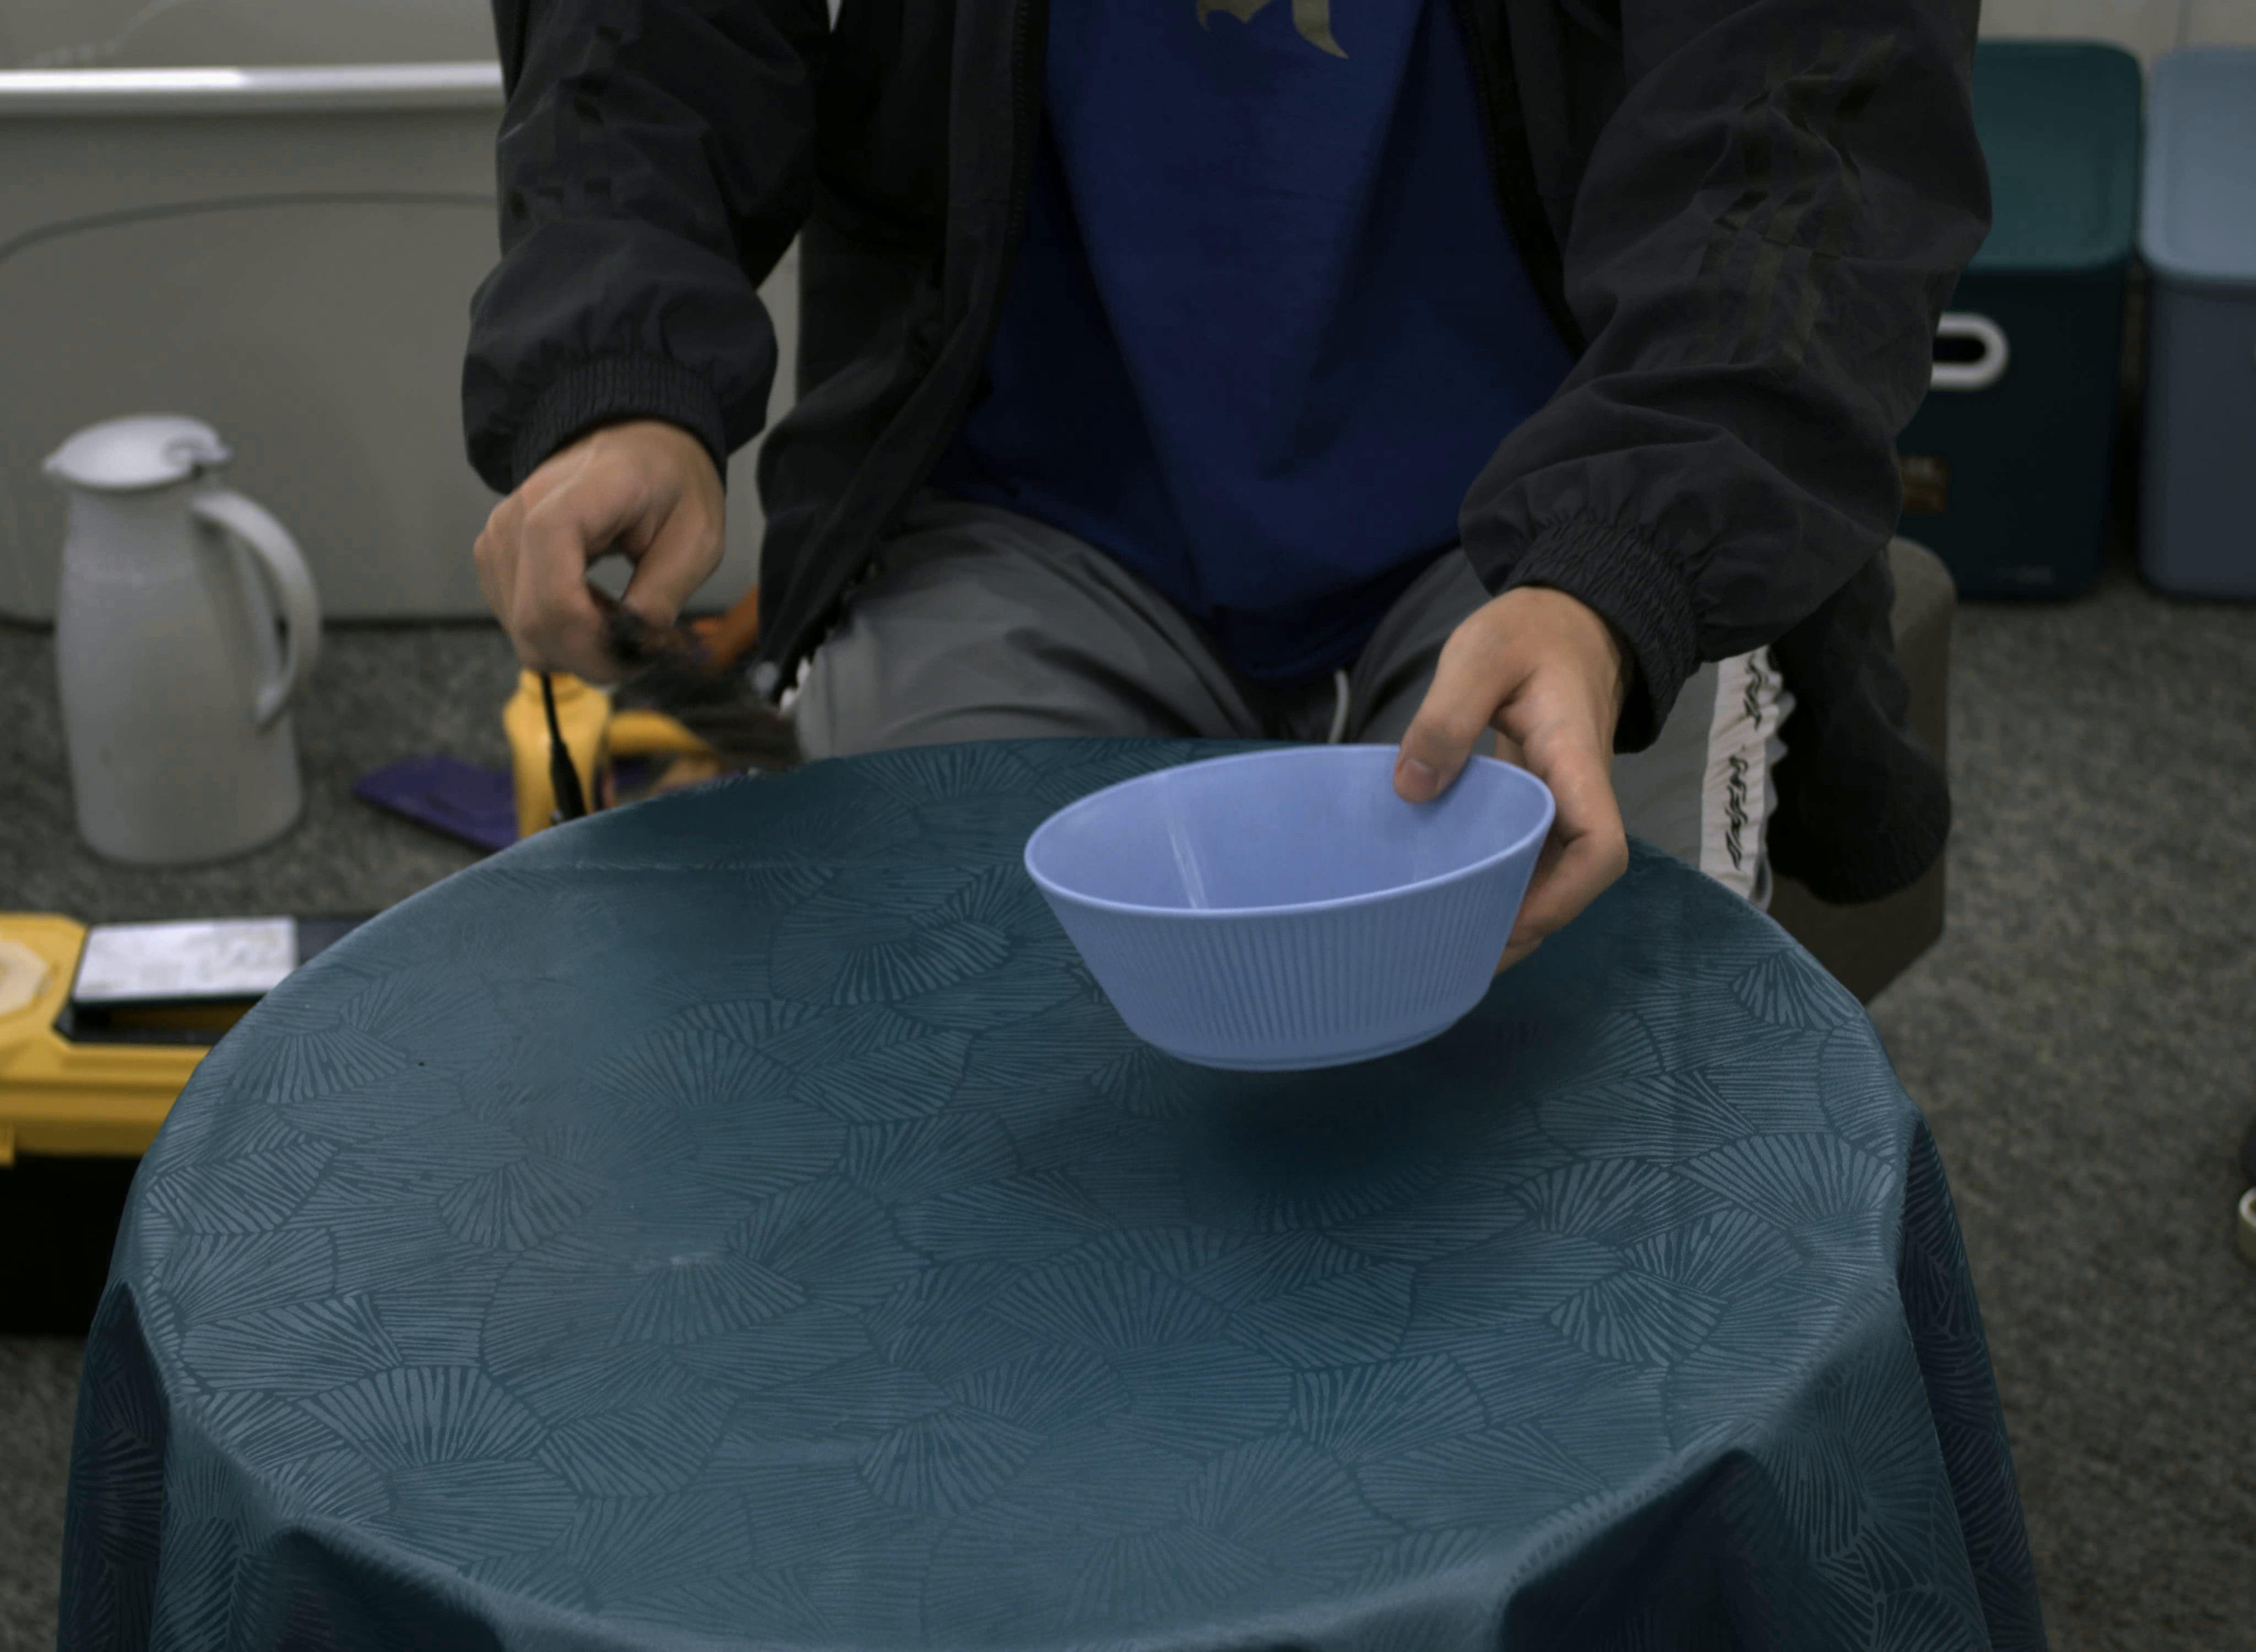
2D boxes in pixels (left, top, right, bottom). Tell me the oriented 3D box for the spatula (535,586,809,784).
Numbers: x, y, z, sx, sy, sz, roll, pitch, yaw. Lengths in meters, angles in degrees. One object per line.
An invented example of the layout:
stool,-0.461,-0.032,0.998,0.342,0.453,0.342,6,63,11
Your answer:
spatula,-0.174,-0.057,1.937,0.024,0.085,0.387,-52,14,-2

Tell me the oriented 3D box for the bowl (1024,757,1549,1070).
bowl,0.055,0.032,1.861,0.175,0.070,0.177,-6,15,2
